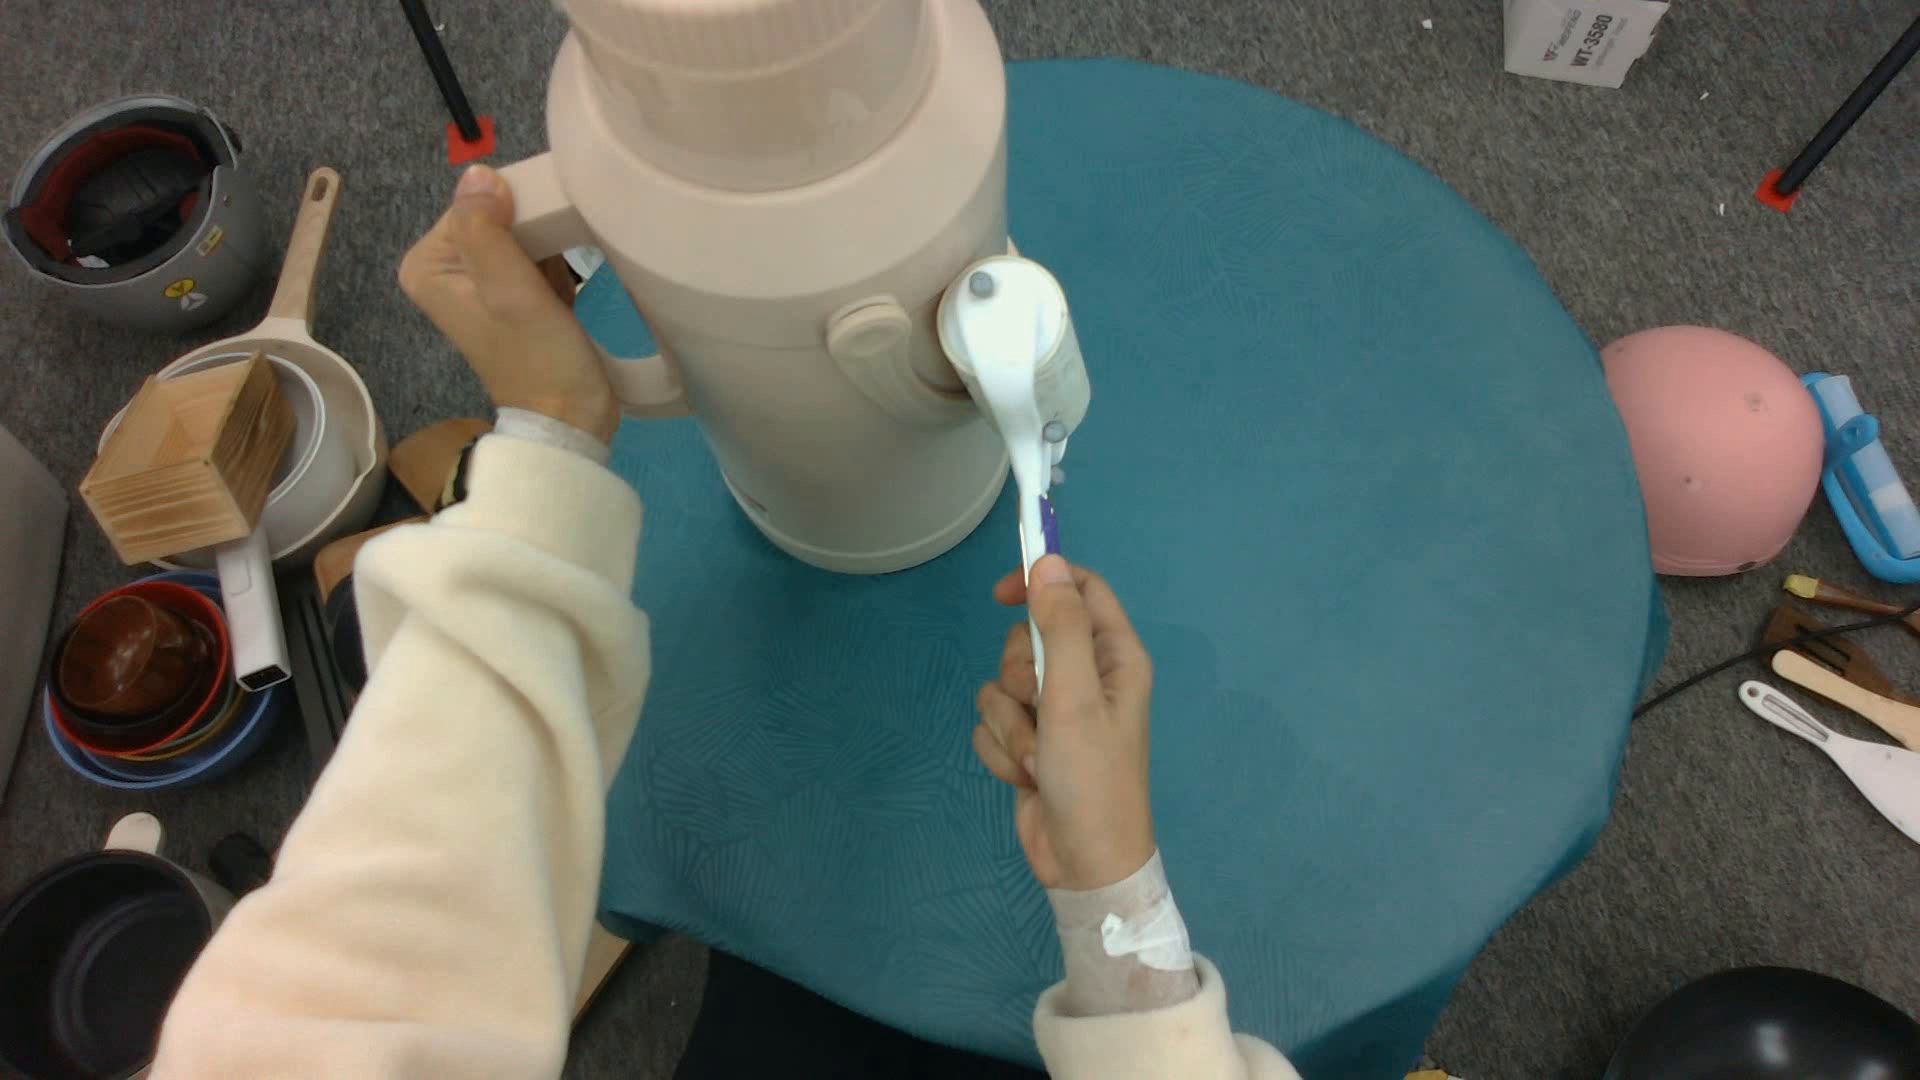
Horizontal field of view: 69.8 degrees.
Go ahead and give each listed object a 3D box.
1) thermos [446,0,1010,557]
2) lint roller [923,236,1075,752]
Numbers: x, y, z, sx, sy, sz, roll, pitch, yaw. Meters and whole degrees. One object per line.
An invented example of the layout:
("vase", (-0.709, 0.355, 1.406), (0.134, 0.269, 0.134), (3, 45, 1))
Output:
("thermos", (-0.078, -0.124, 0.561), (0.207, 0.405, 0.175), (-21, 73, -6))
("lint roller", (0.032, -0.014, 0.512), (0.050, 0.133, 0.181), (-16, 76, 5))
